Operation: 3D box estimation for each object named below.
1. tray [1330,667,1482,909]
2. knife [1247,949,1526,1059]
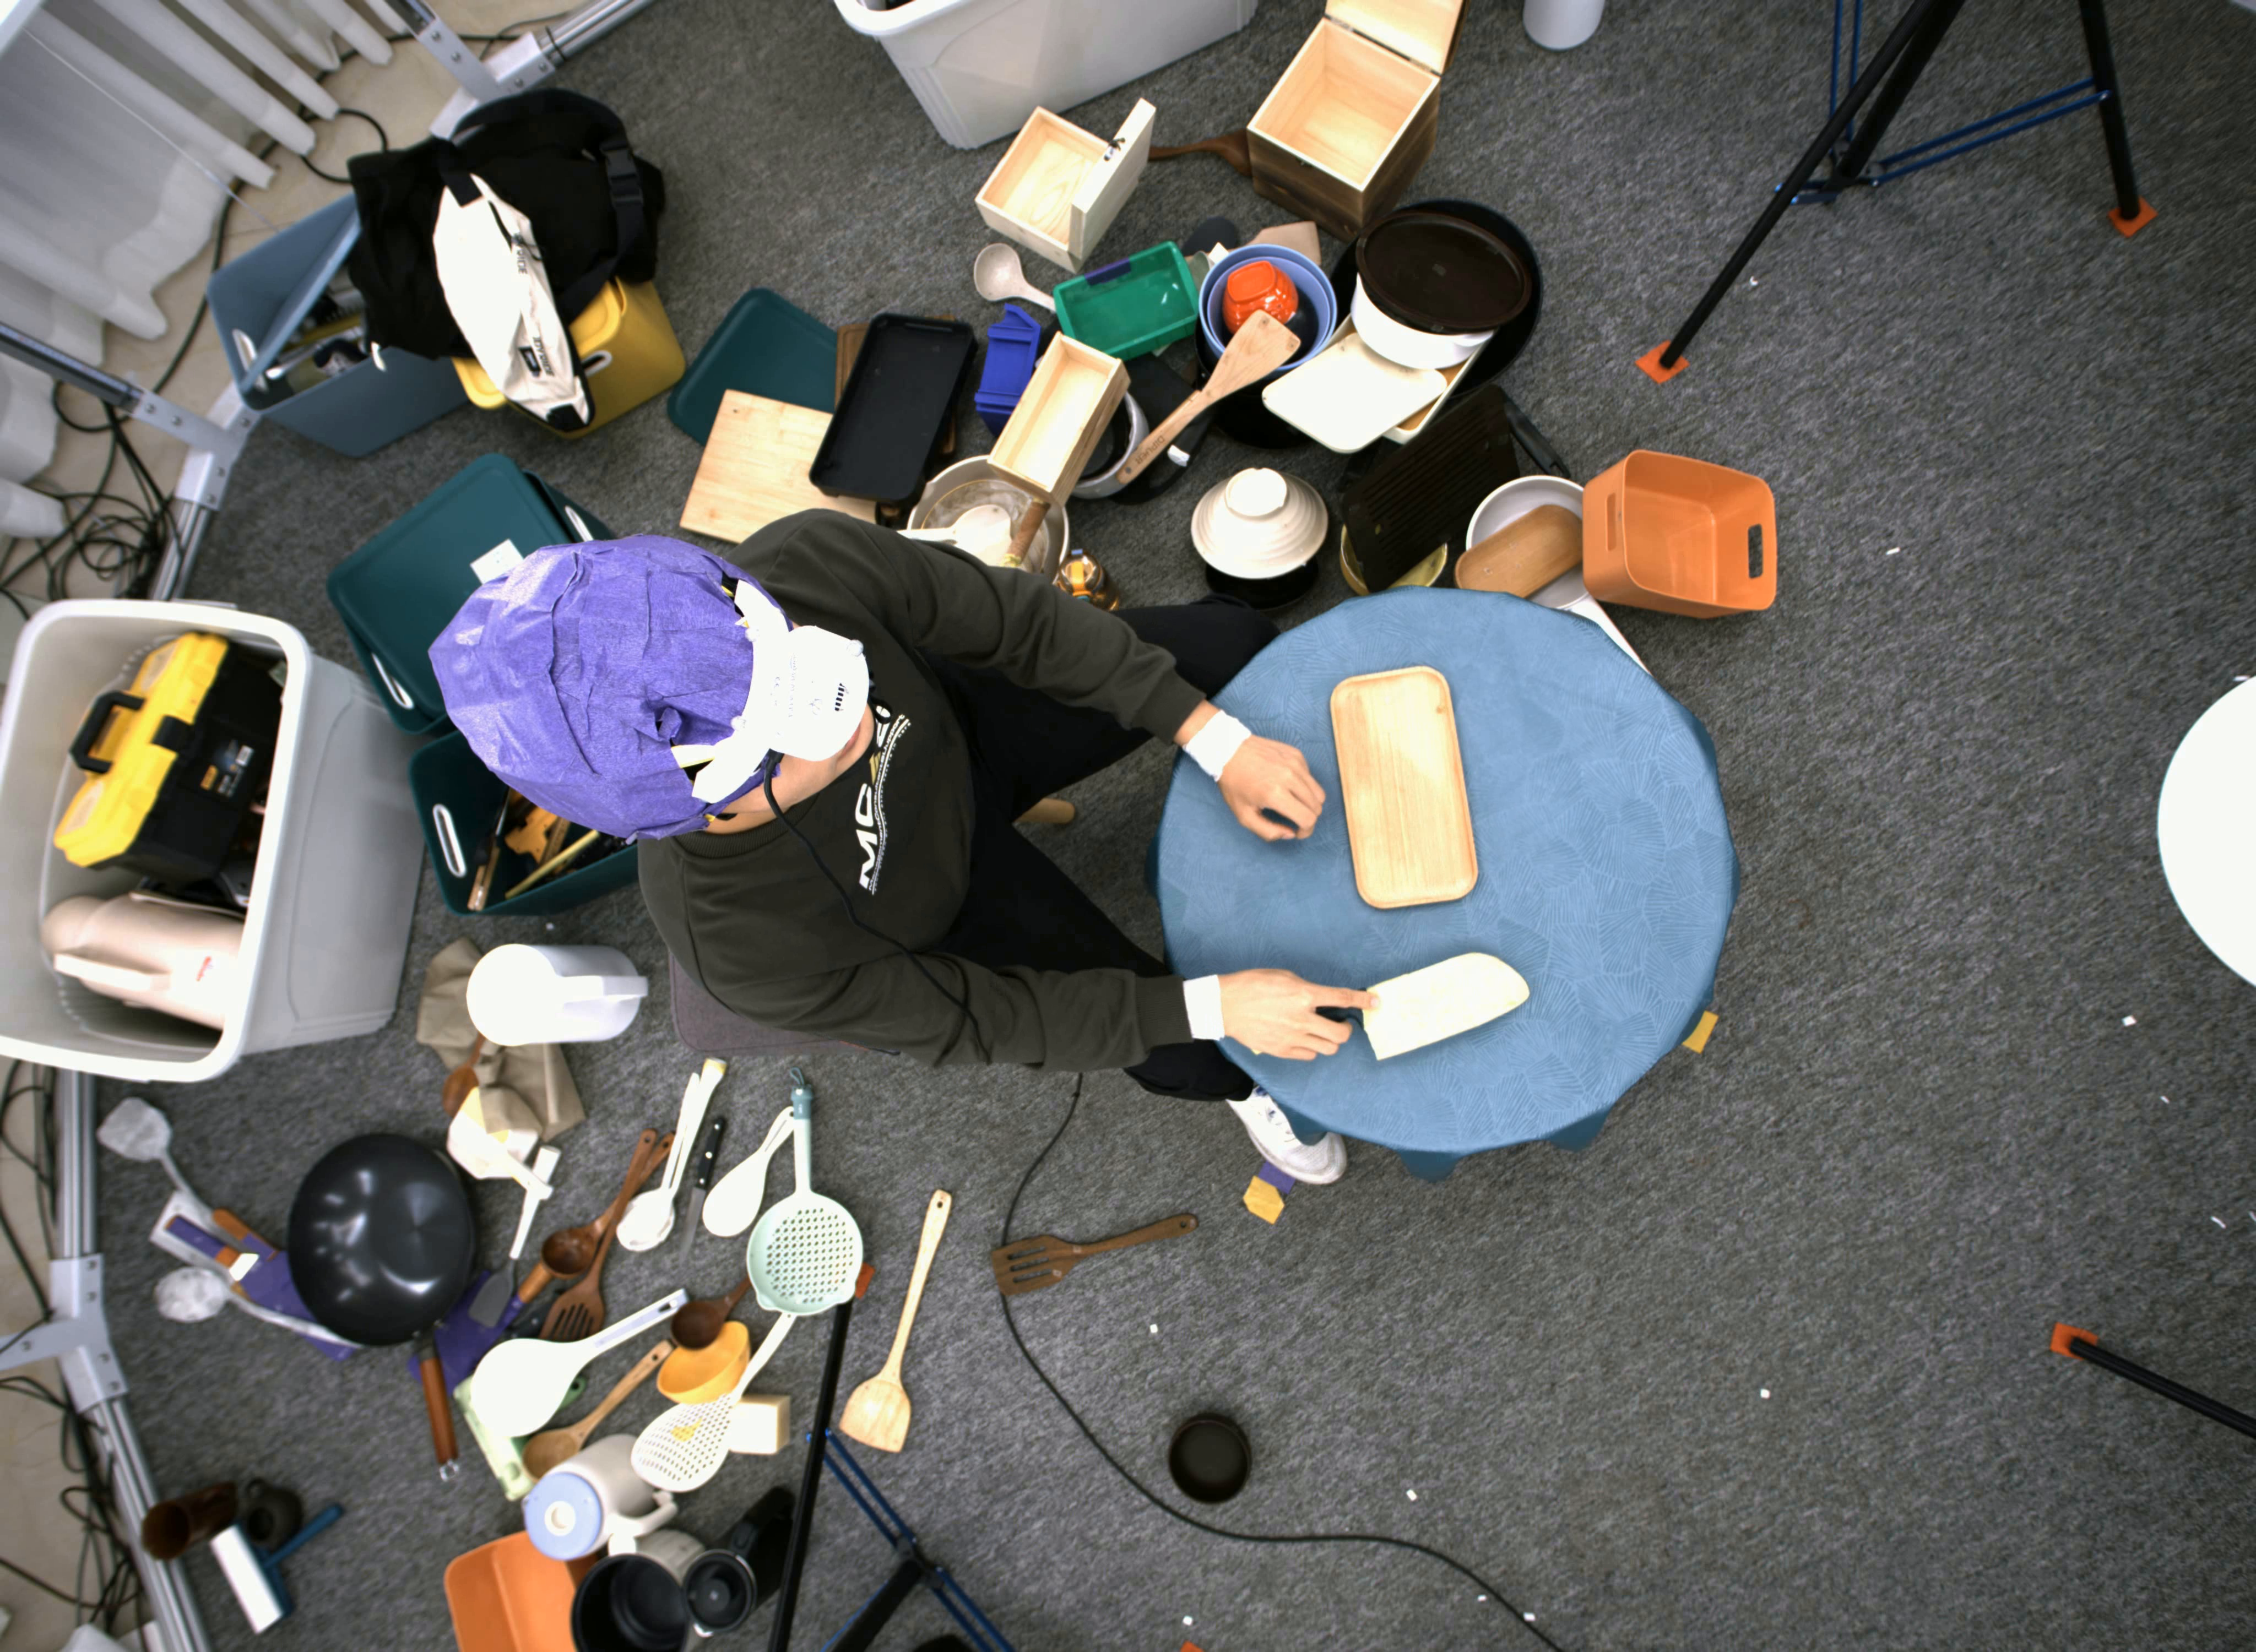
[{"bbox_3d":[0.293,-0.042,1.454,0.131,0.023,0.249,-9,86,13],"label":"tray"},{"bbox_3d":[0.263,0.191,1.404,0.291,0.027,0.080,-18,79,7],"label":"knife"}]
